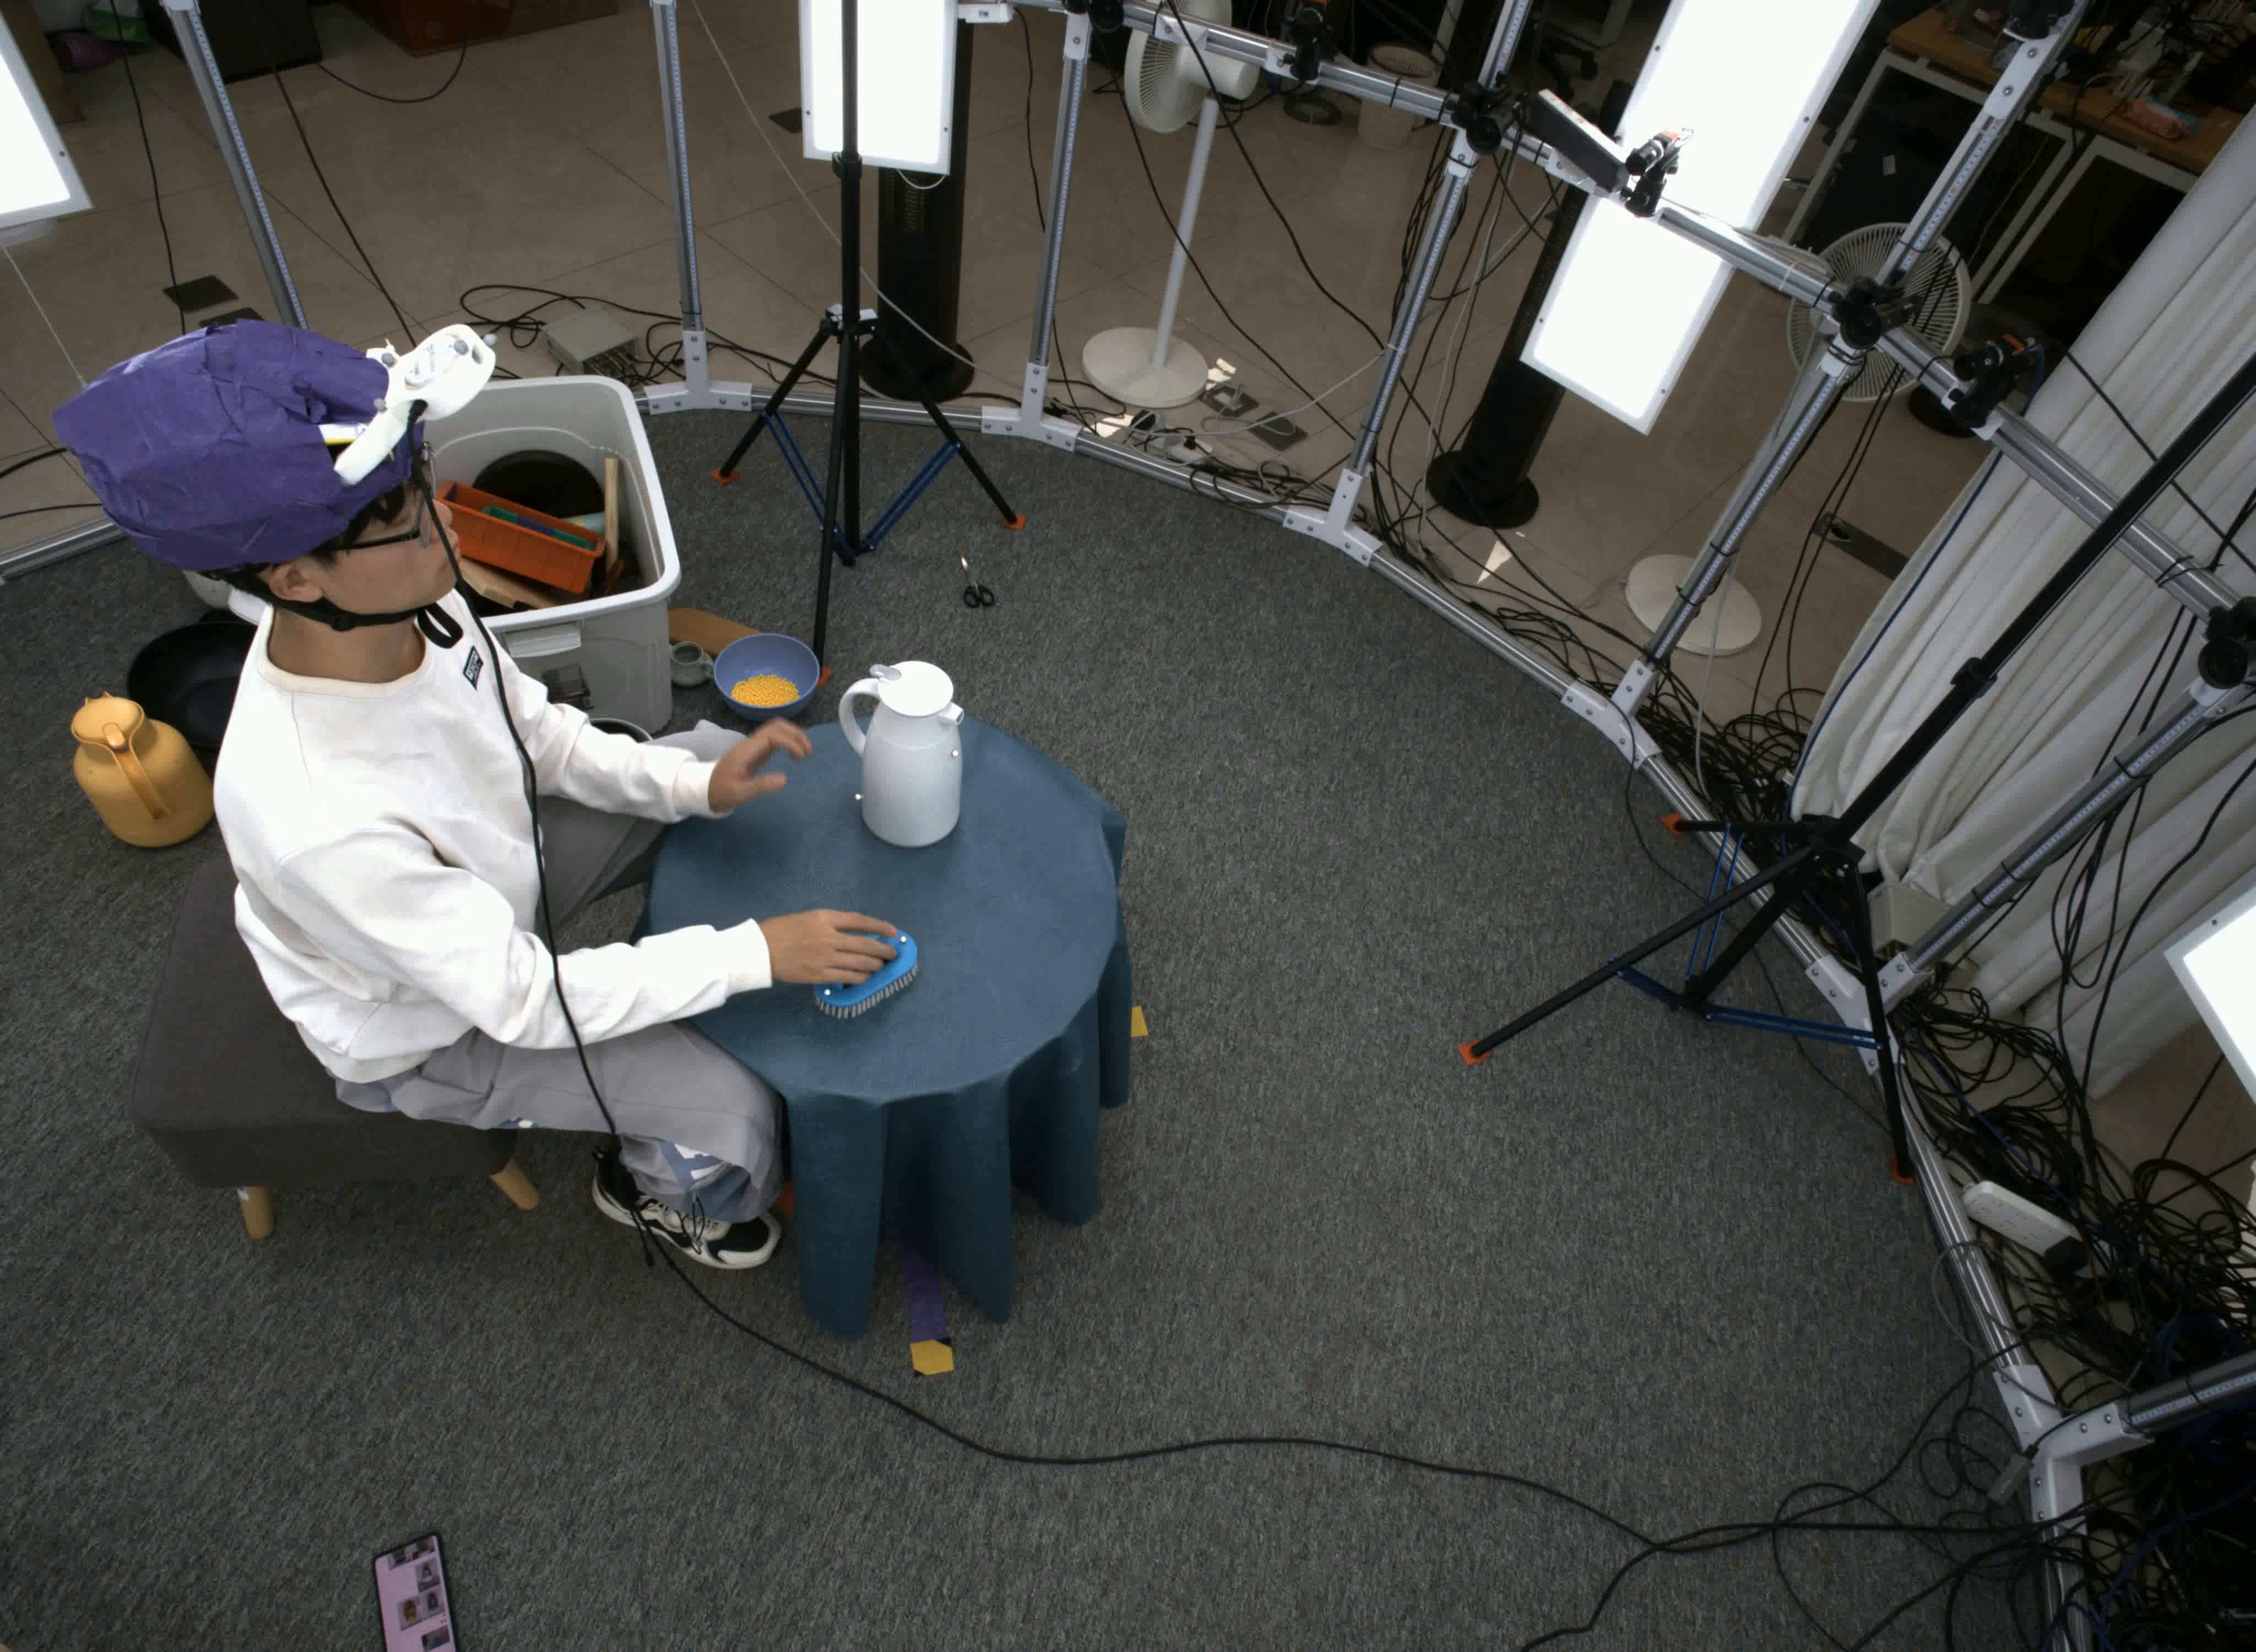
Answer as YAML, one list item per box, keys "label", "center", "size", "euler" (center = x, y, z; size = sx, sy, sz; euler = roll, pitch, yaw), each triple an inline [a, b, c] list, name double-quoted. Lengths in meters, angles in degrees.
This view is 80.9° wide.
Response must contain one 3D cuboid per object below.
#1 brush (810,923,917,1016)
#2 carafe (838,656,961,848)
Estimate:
- label: "brush"
  center: [-0.321, 0.168, 1.591]
  size: [0.142, 0.065, 0.083]
  euler: [-30, 69, -30]
- label: "carafe"
  center: [-0.298, -0.107, 1.683]
  size: [0.165, 0.254, 0.131]
  euler: [21, 51, 7]
